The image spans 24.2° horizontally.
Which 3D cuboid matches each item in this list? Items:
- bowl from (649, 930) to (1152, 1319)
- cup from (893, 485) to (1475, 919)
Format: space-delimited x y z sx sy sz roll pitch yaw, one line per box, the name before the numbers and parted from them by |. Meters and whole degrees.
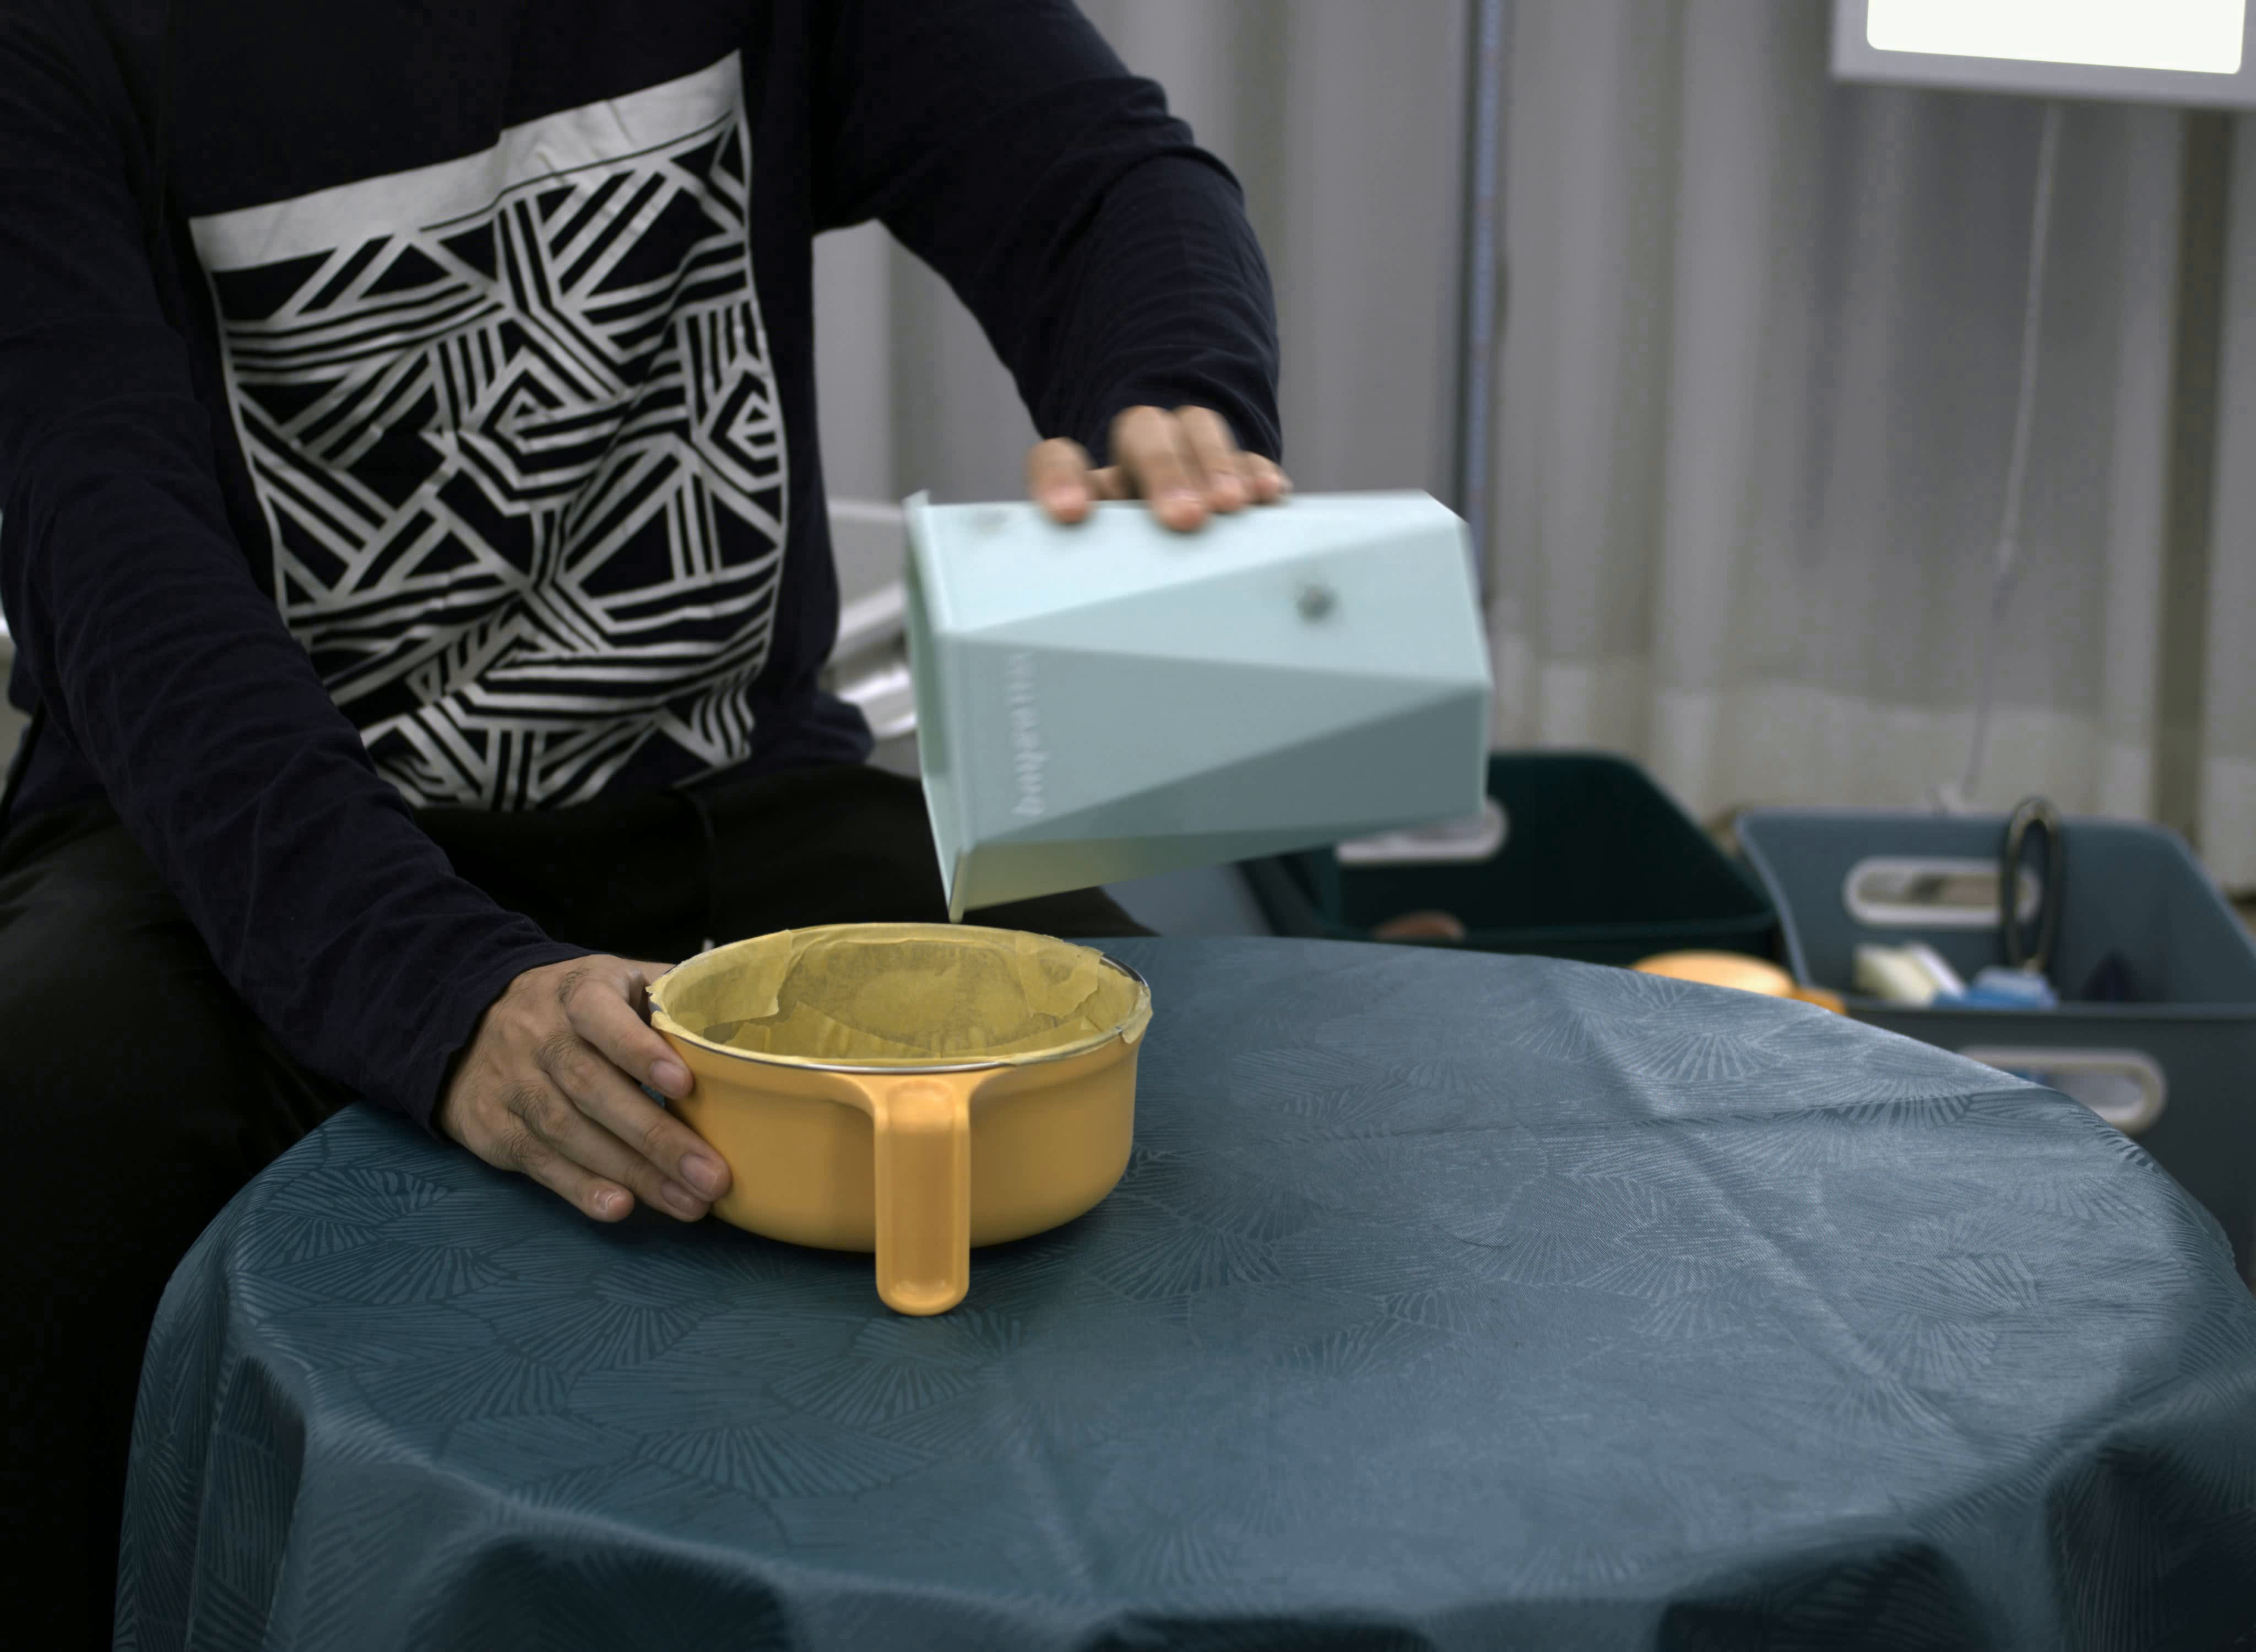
bowl | -0.067 0.087 1.593 0.153 0.075 0.178 -3 13 -10
cup | 0.016 -0.046 1.577 0.162 0.132 0.114 -8 10 -5
